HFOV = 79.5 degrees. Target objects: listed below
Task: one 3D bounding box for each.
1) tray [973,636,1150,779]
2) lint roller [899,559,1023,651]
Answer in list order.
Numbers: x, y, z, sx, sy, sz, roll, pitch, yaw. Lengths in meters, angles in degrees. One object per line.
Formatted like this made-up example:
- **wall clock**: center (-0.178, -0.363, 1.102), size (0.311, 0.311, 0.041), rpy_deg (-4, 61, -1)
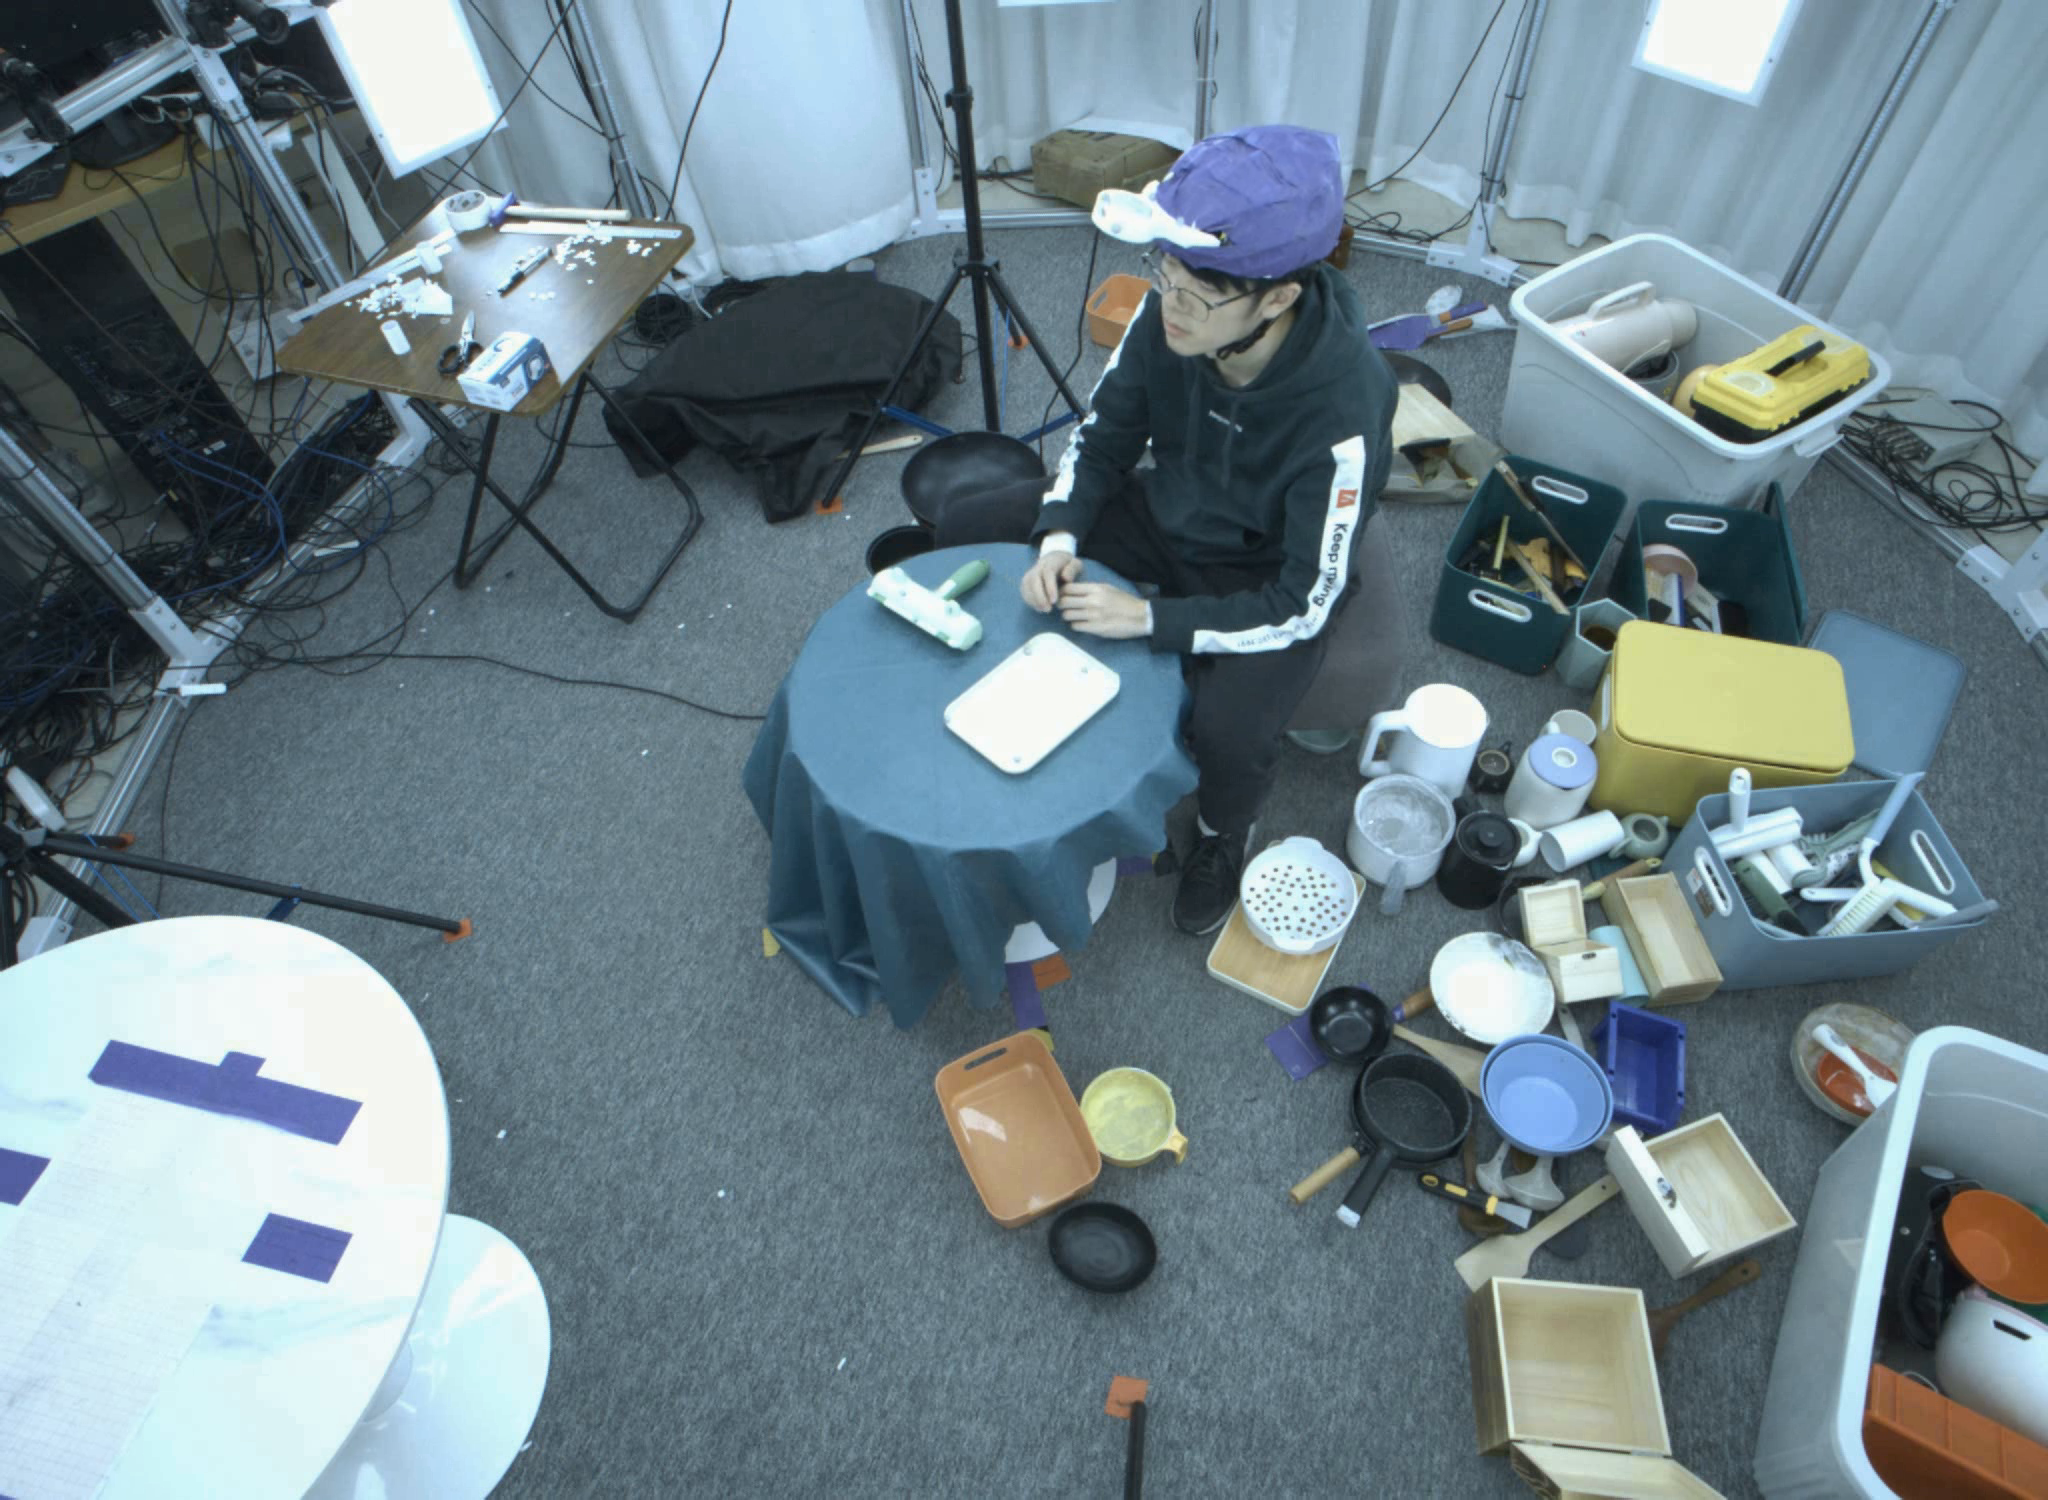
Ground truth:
- **tray**: center (0.056, -0.064, 1.816), size (0.241, 0.017, 0.168), rpy_deg (-39, 63, -23)
- **lint roller**: center (-0.070, -0.260, 1.922), size (0.195, 0.083, 0.184), rpy_deg (35, 67, 24)
